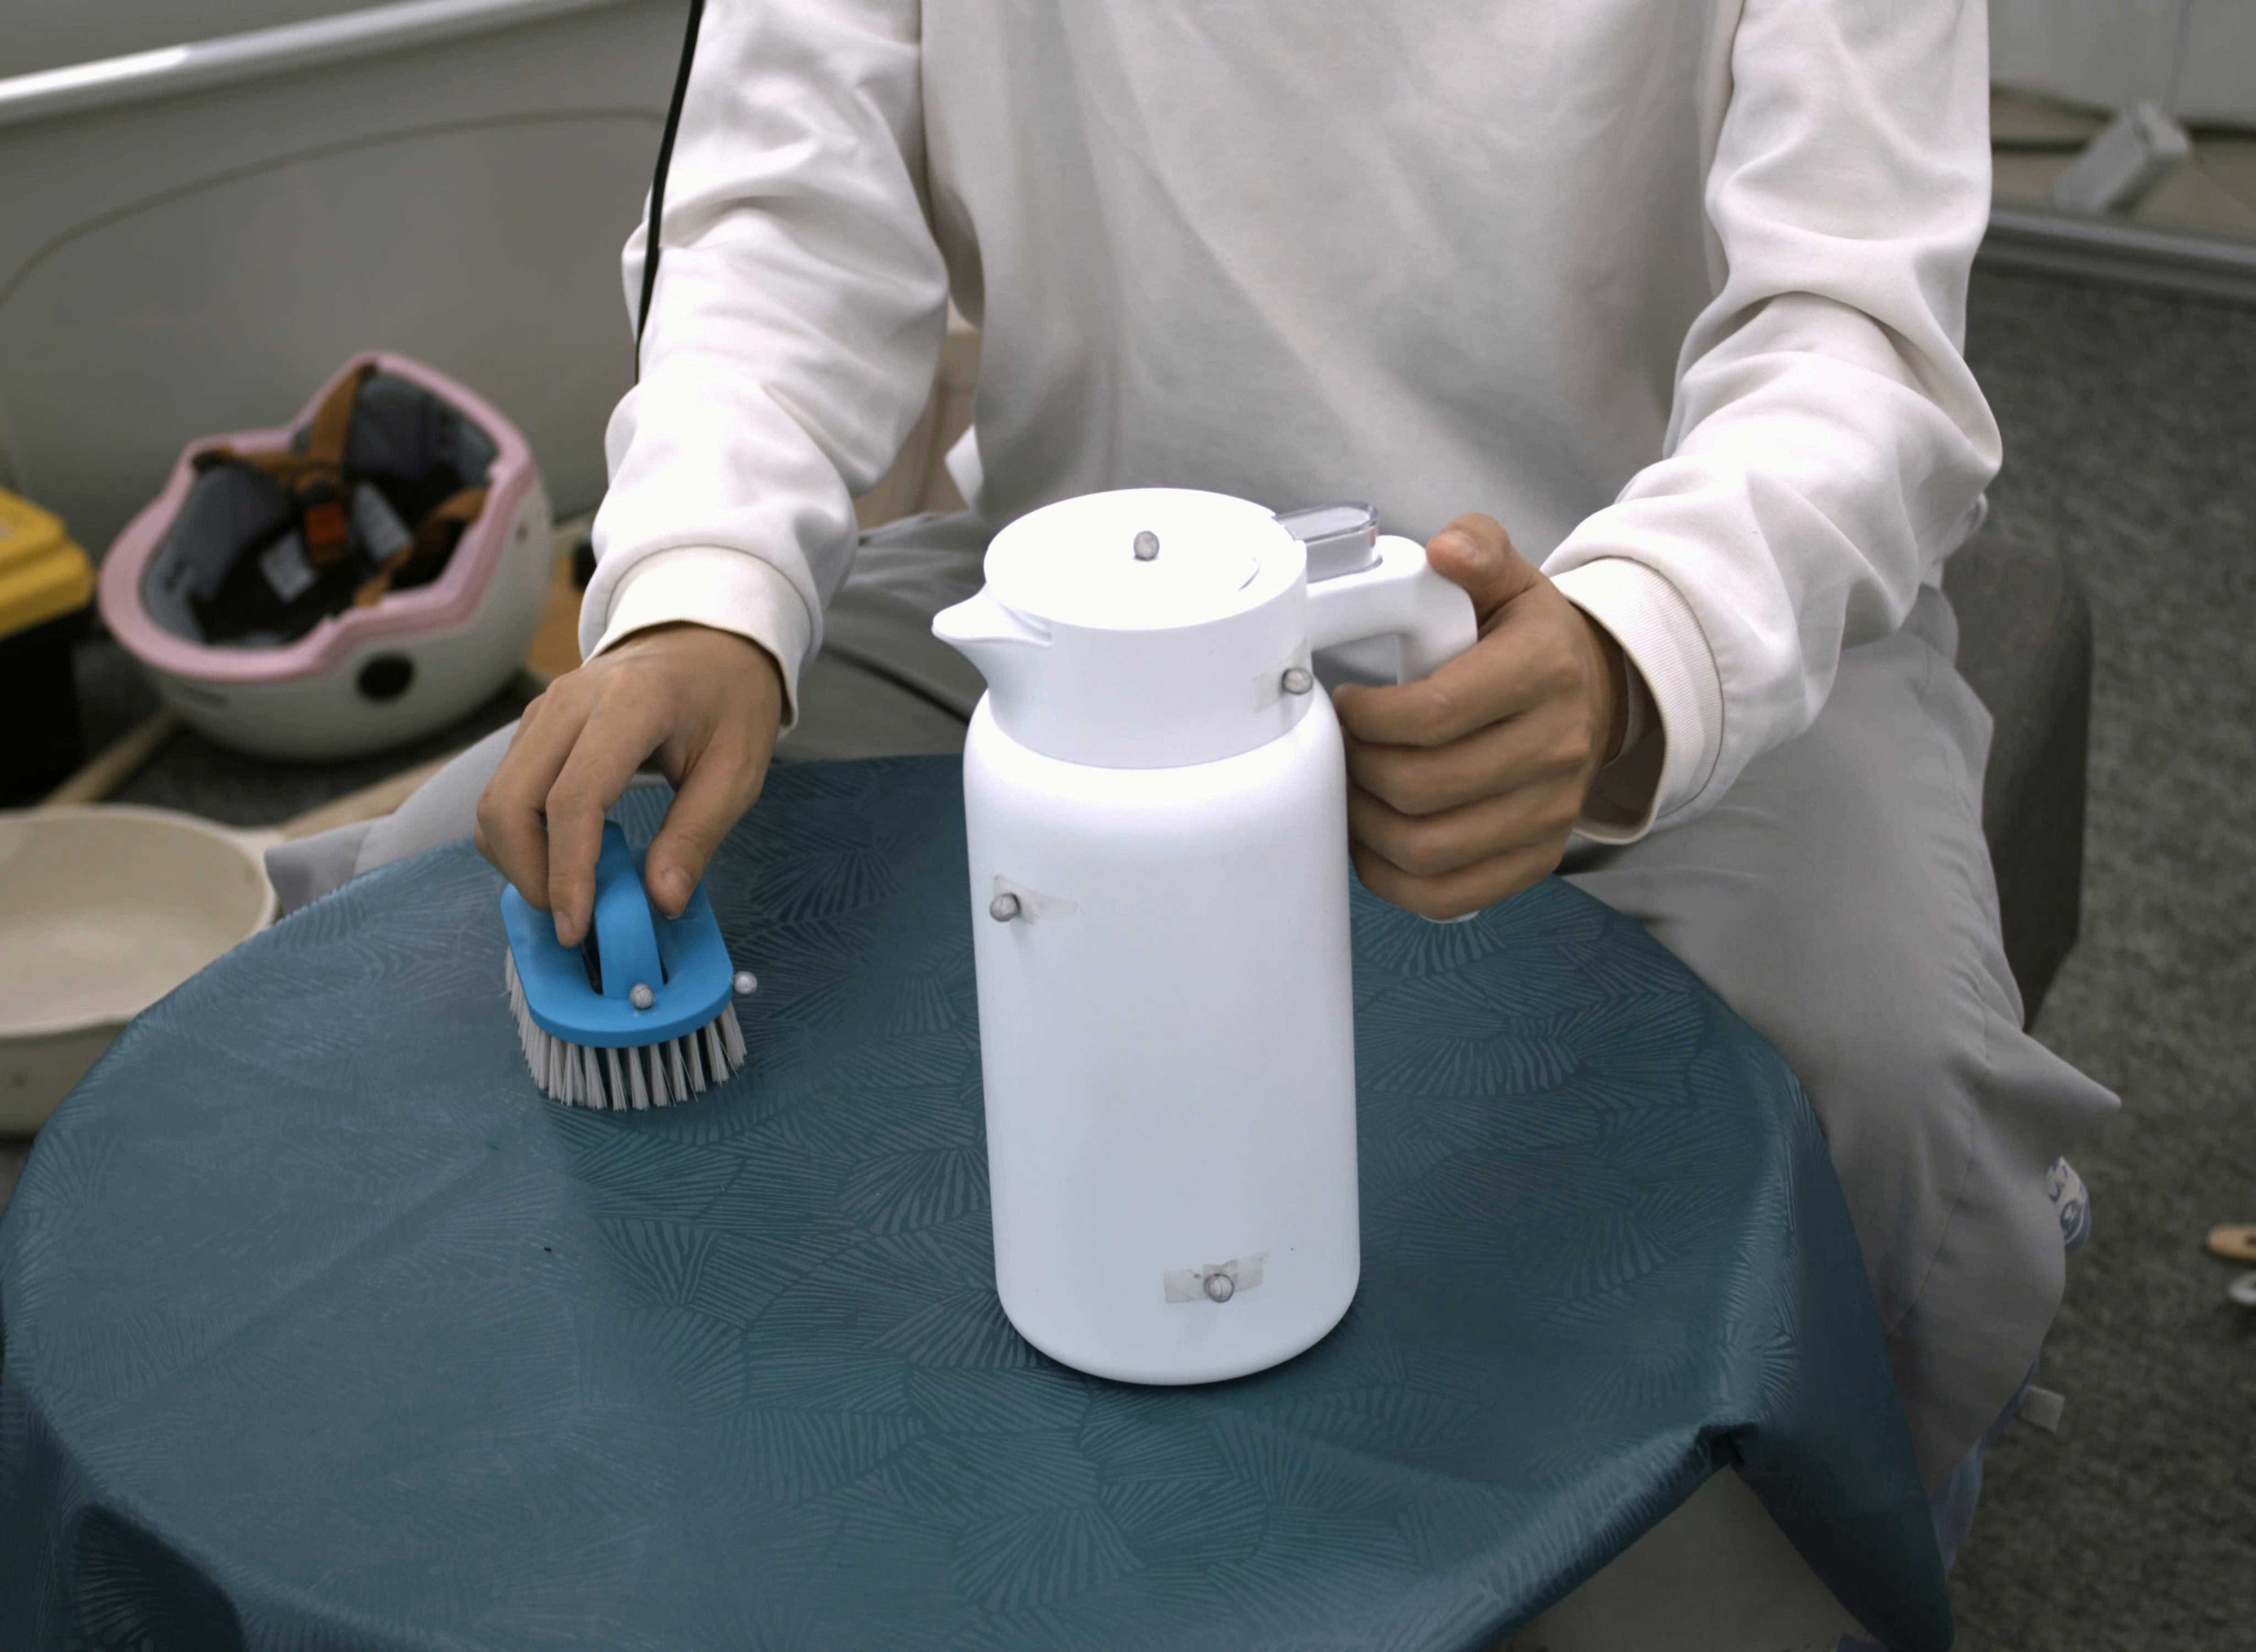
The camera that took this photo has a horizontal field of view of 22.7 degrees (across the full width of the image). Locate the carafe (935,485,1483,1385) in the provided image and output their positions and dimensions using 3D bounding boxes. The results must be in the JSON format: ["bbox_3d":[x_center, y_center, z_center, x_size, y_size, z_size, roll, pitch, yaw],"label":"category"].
[{"bbox_3d":[0.027,0.030,1.753,0.173,0.266,0.124,-12,26,-19],"label":"carafe"}]

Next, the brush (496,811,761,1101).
[{"bbox_3d":[-0.179,0.037,1.973,0.084,0.063,0.143,-11,28,-7],"label":"brush"}]
